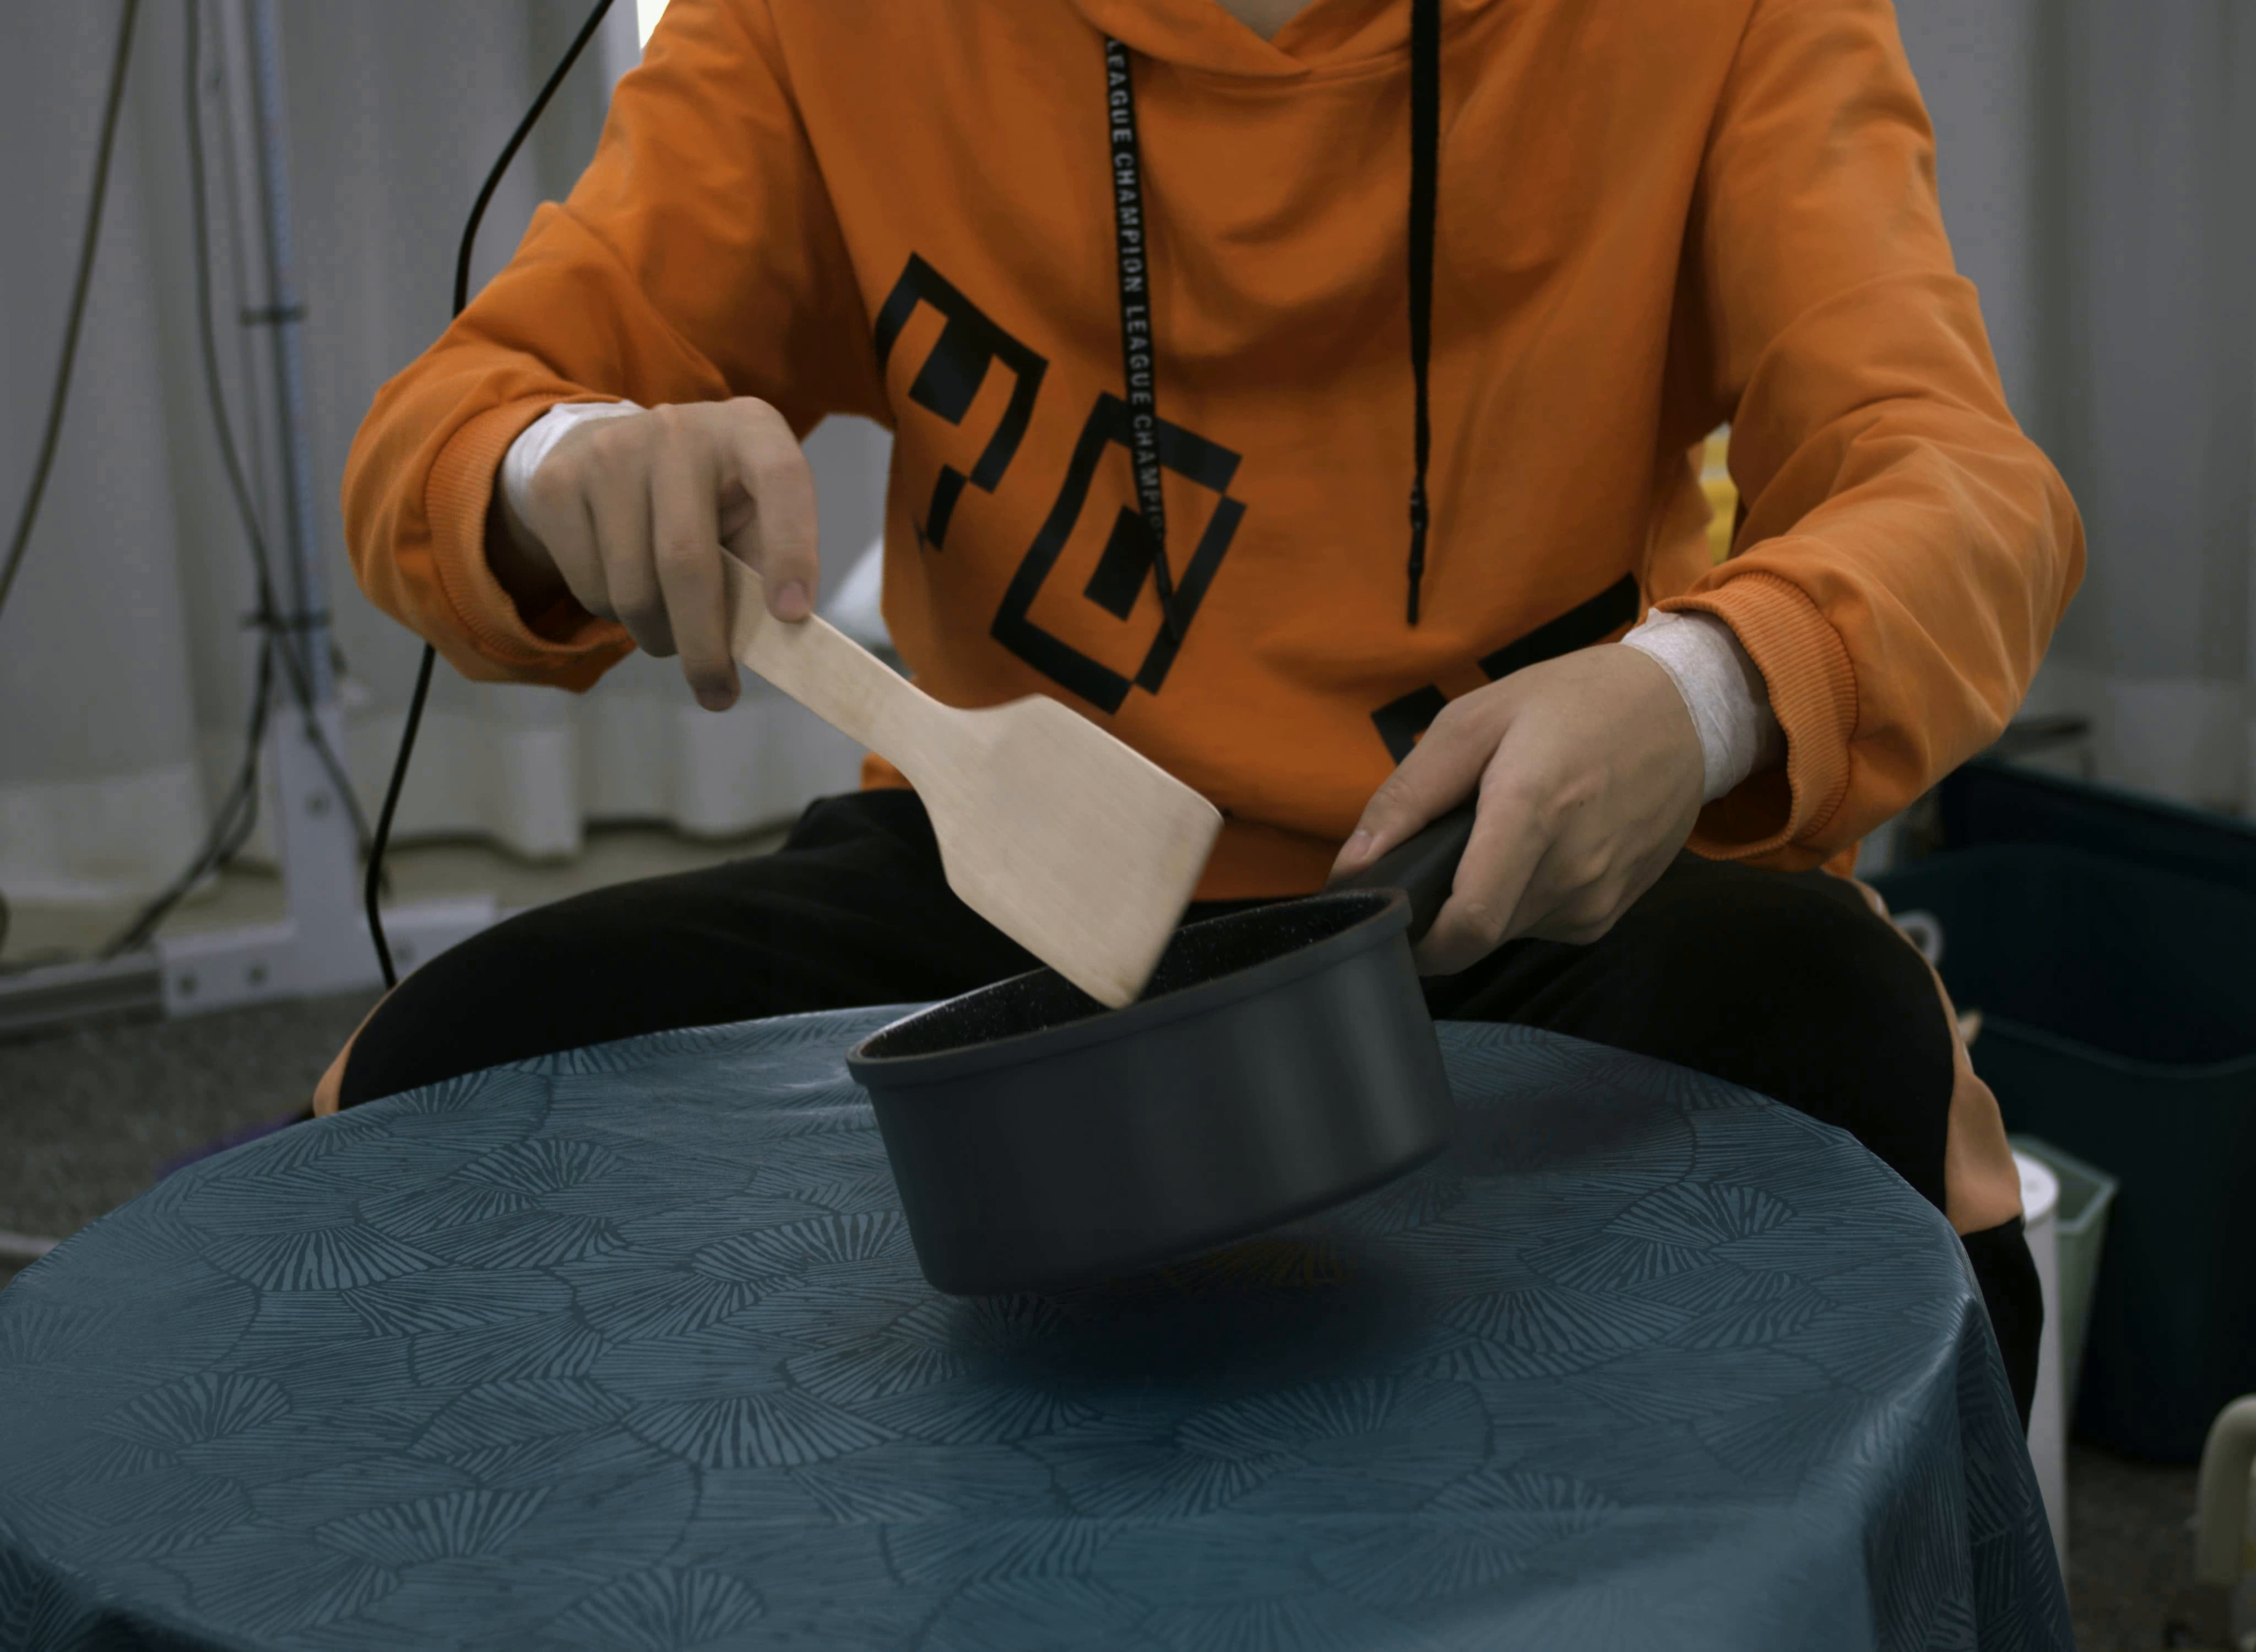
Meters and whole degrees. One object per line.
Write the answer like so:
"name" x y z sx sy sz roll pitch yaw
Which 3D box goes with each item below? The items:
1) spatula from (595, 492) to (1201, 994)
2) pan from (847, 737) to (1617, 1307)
"spatula" -0.082 -0.041 1.717 0.010 0.072 0.296 12 16 -46
"pan" 0.056 0.057 1.653 0.172 0.086 0.329 -11 9 40
